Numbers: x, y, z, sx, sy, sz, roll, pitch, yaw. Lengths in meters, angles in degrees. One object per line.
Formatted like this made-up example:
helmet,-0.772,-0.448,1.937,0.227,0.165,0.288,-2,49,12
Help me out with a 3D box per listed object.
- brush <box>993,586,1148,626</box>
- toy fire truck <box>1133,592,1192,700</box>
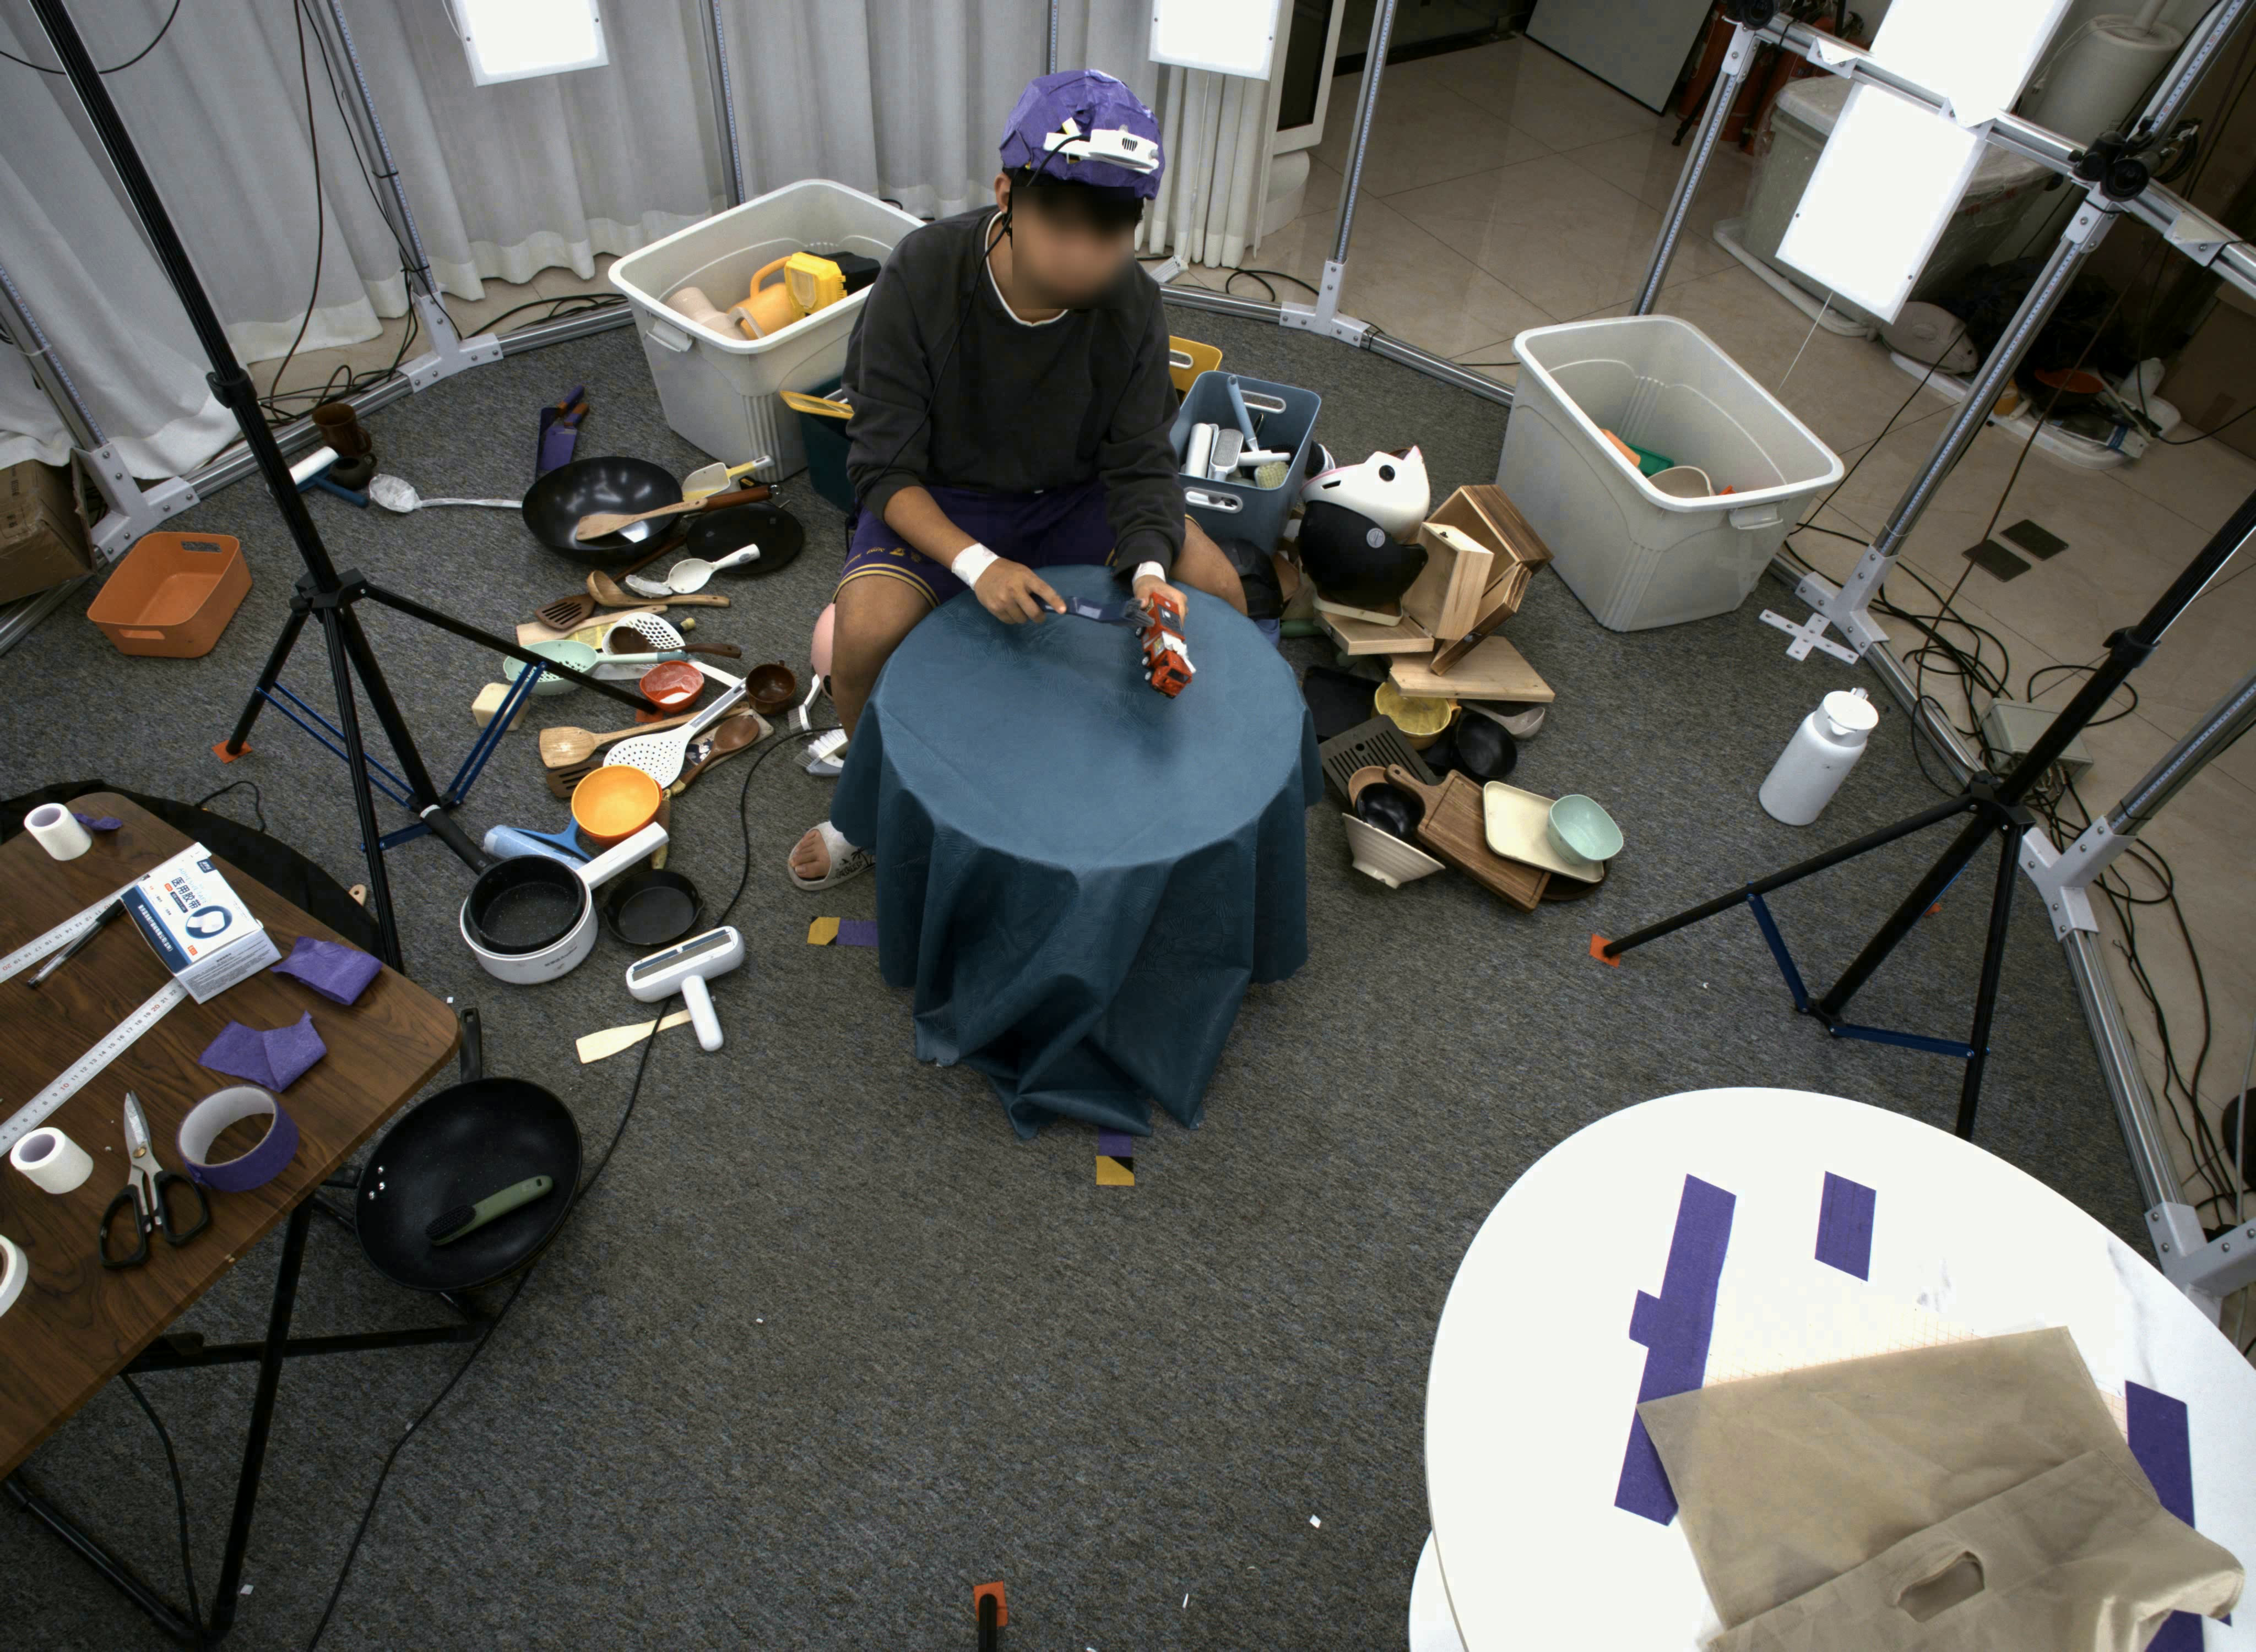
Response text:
brush,-0.092,-0.313,1.797,0.275,0.094,0.033,15,86,30
toy fire truck,0.050,-0.250,1.777,0.053,0.069,0.172,24,38,-33
